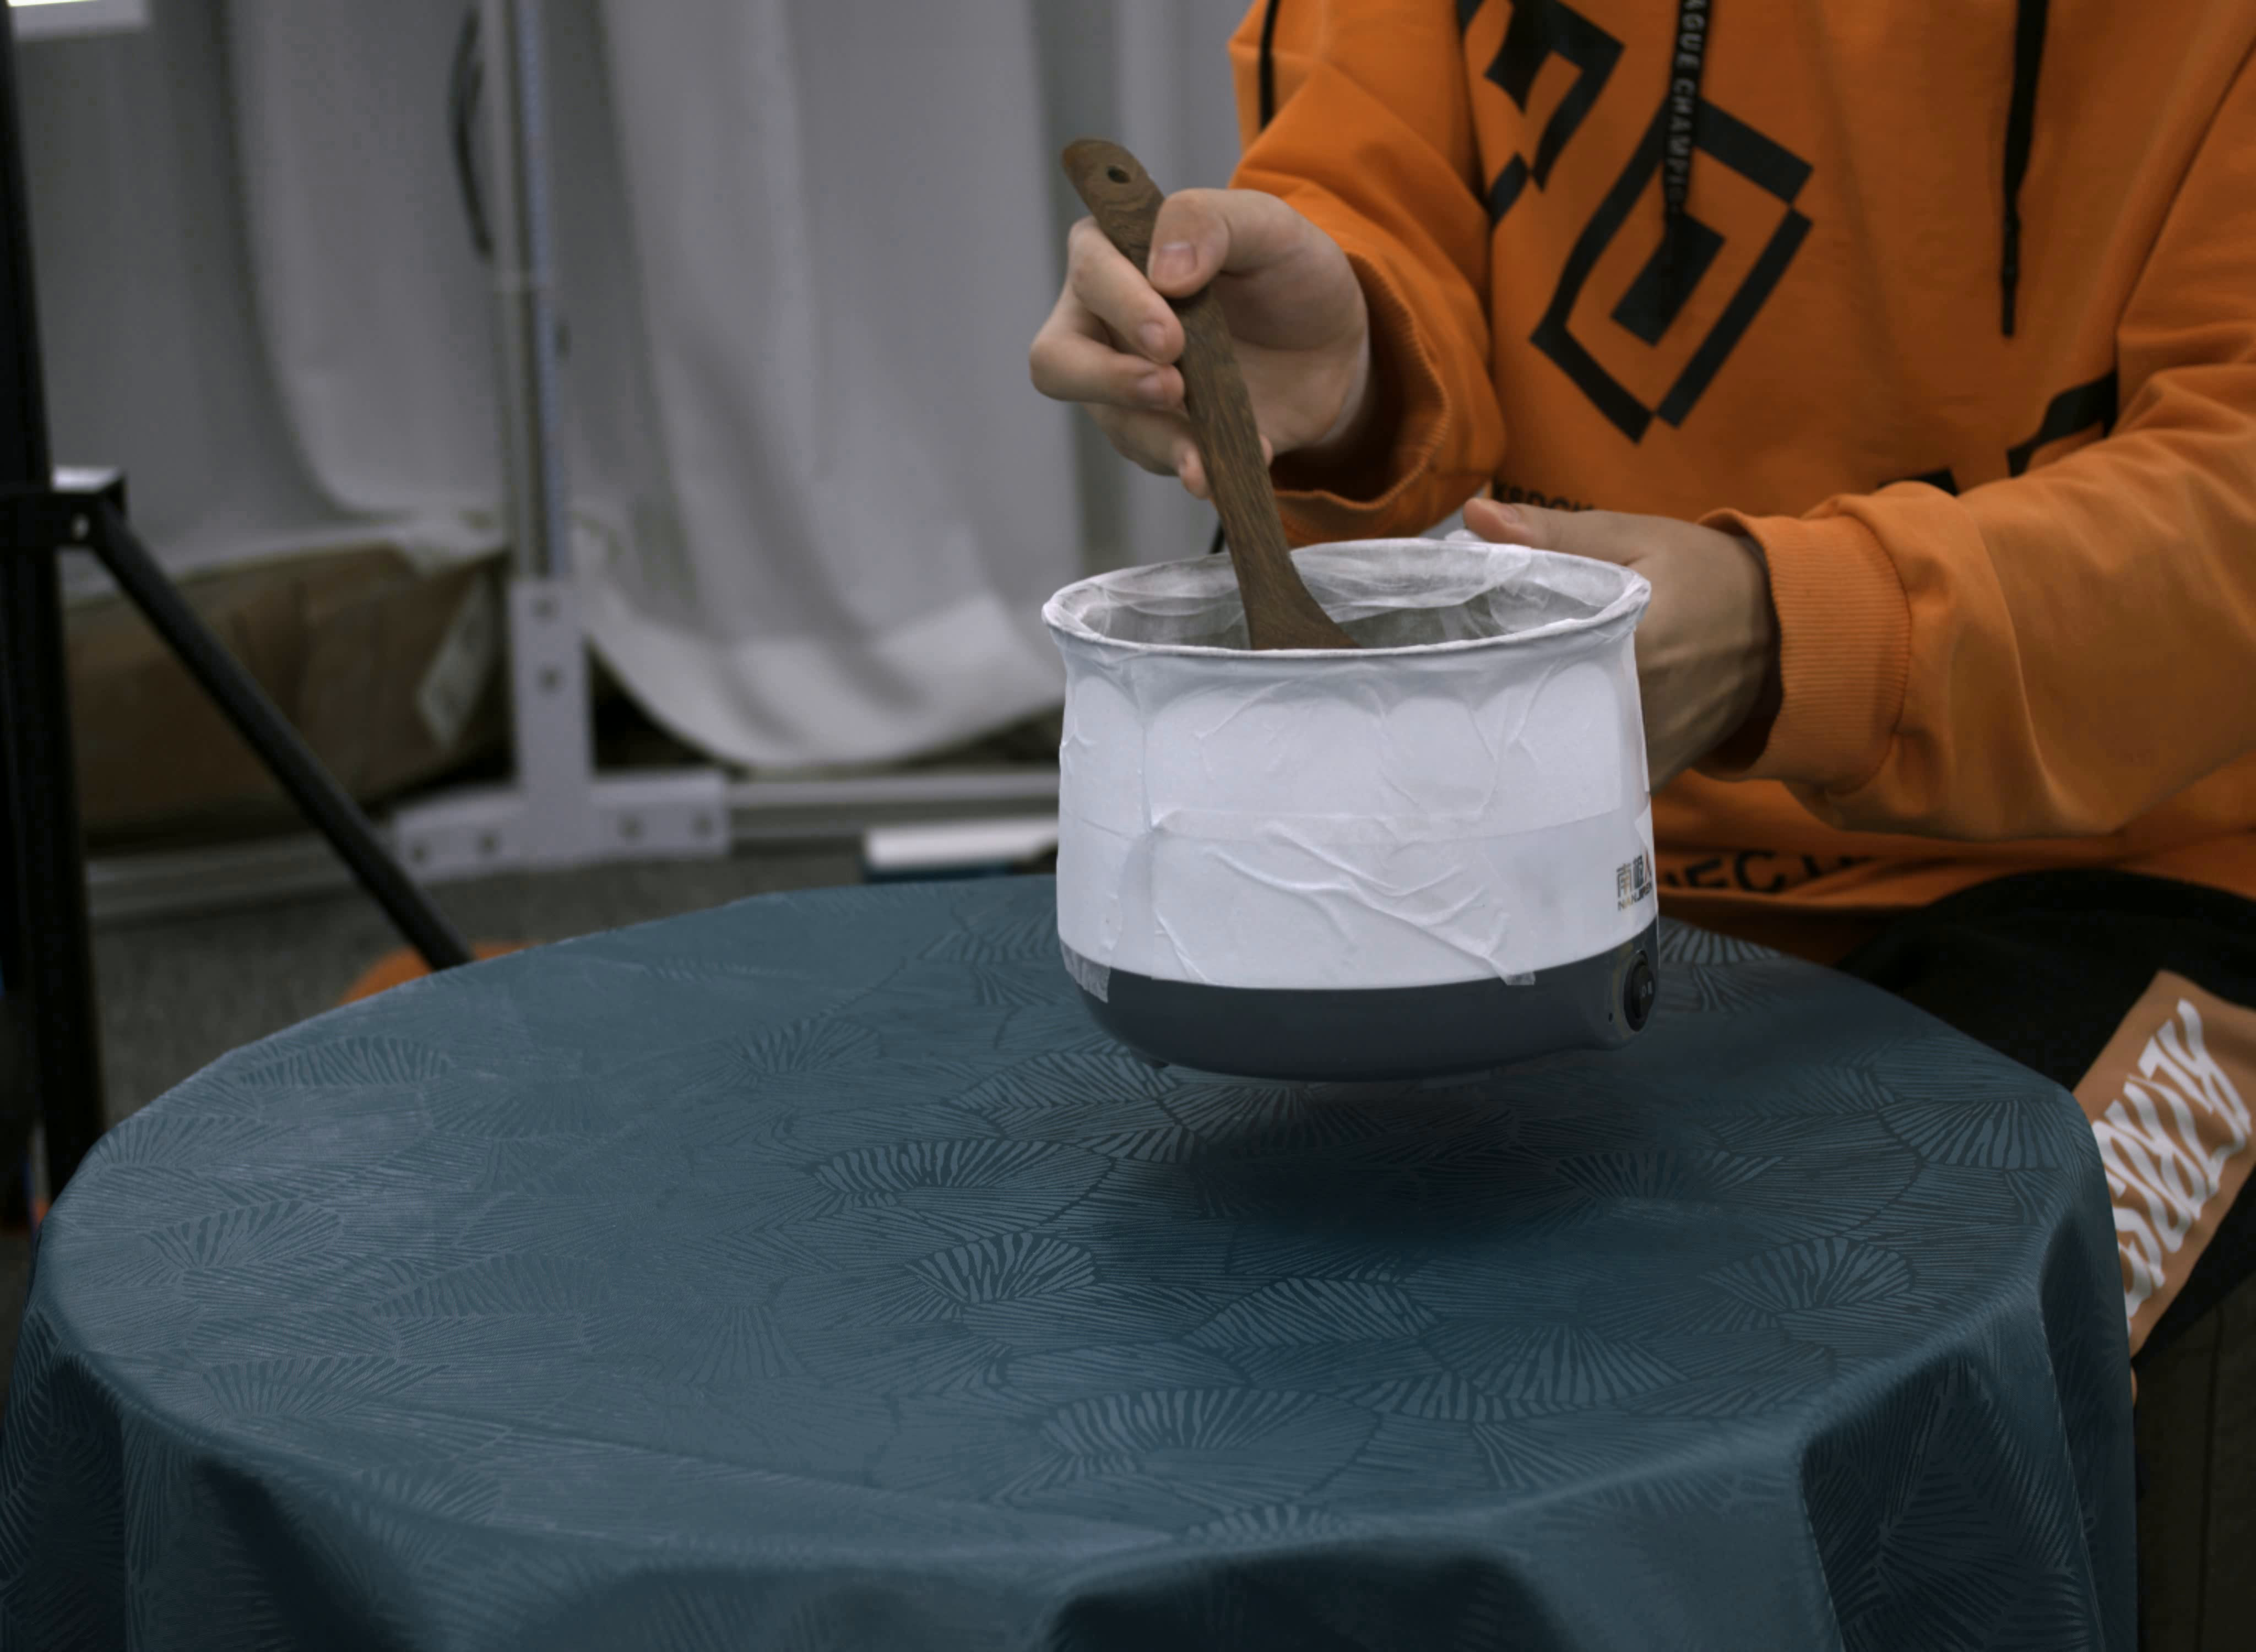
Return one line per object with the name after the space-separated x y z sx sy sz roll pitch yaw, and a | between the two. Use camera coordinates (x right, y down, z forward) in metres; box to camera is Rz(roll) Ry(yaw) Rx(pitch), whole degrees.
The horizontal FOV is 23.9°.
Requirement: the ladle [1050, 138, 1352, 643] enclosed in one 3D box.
0.039 -0.122 1.583 0.074 0.072 0.279 5 51 -33 | ladle

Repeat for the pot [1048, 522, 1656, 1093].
0.077 -0.011 1.578 0.181 0.137 0.230 3 13 23 | pot
